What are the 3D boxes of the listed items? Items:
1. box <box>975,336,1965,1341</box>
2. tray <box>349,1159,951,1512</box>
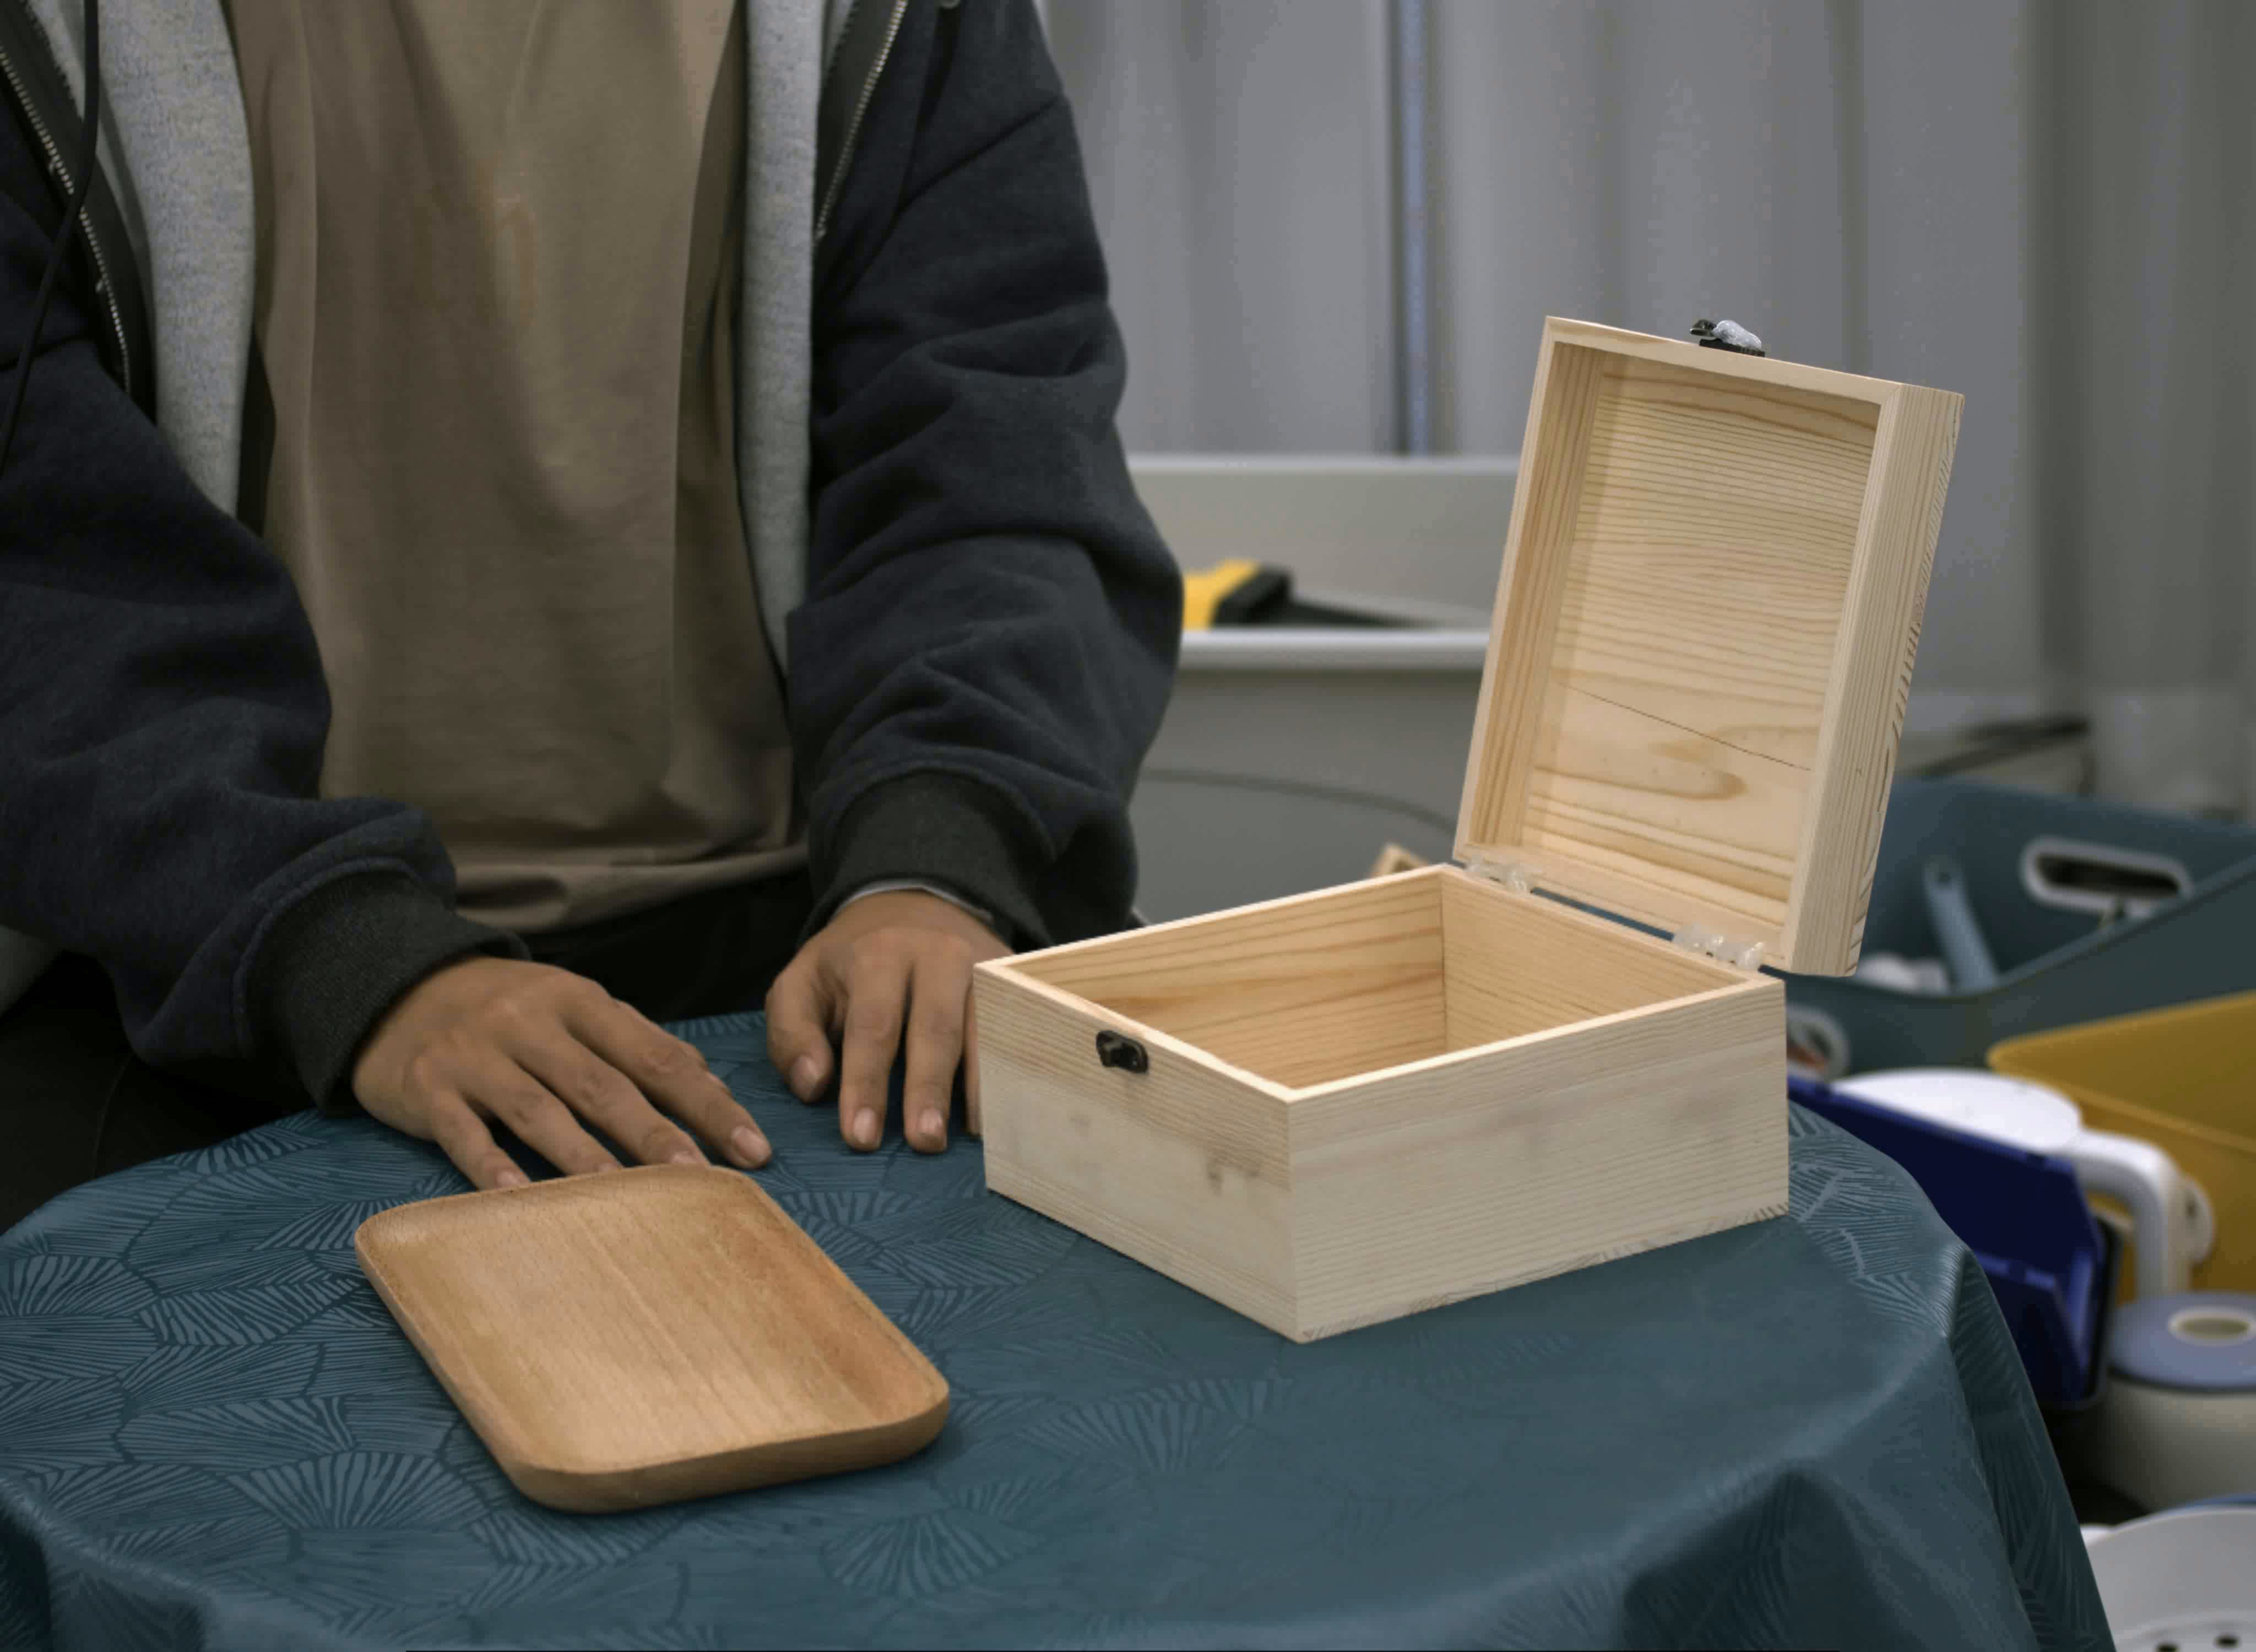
[{"bbox_3d":[0.101,-0.007,1.685,0.264,0.252,0.183,-10,13,-31],"label":"box"},{"bbox_3d":[-0.143,0.146,1.594,0.130,0.023,0.252,-5,14,-19],"label":"tray"}]
